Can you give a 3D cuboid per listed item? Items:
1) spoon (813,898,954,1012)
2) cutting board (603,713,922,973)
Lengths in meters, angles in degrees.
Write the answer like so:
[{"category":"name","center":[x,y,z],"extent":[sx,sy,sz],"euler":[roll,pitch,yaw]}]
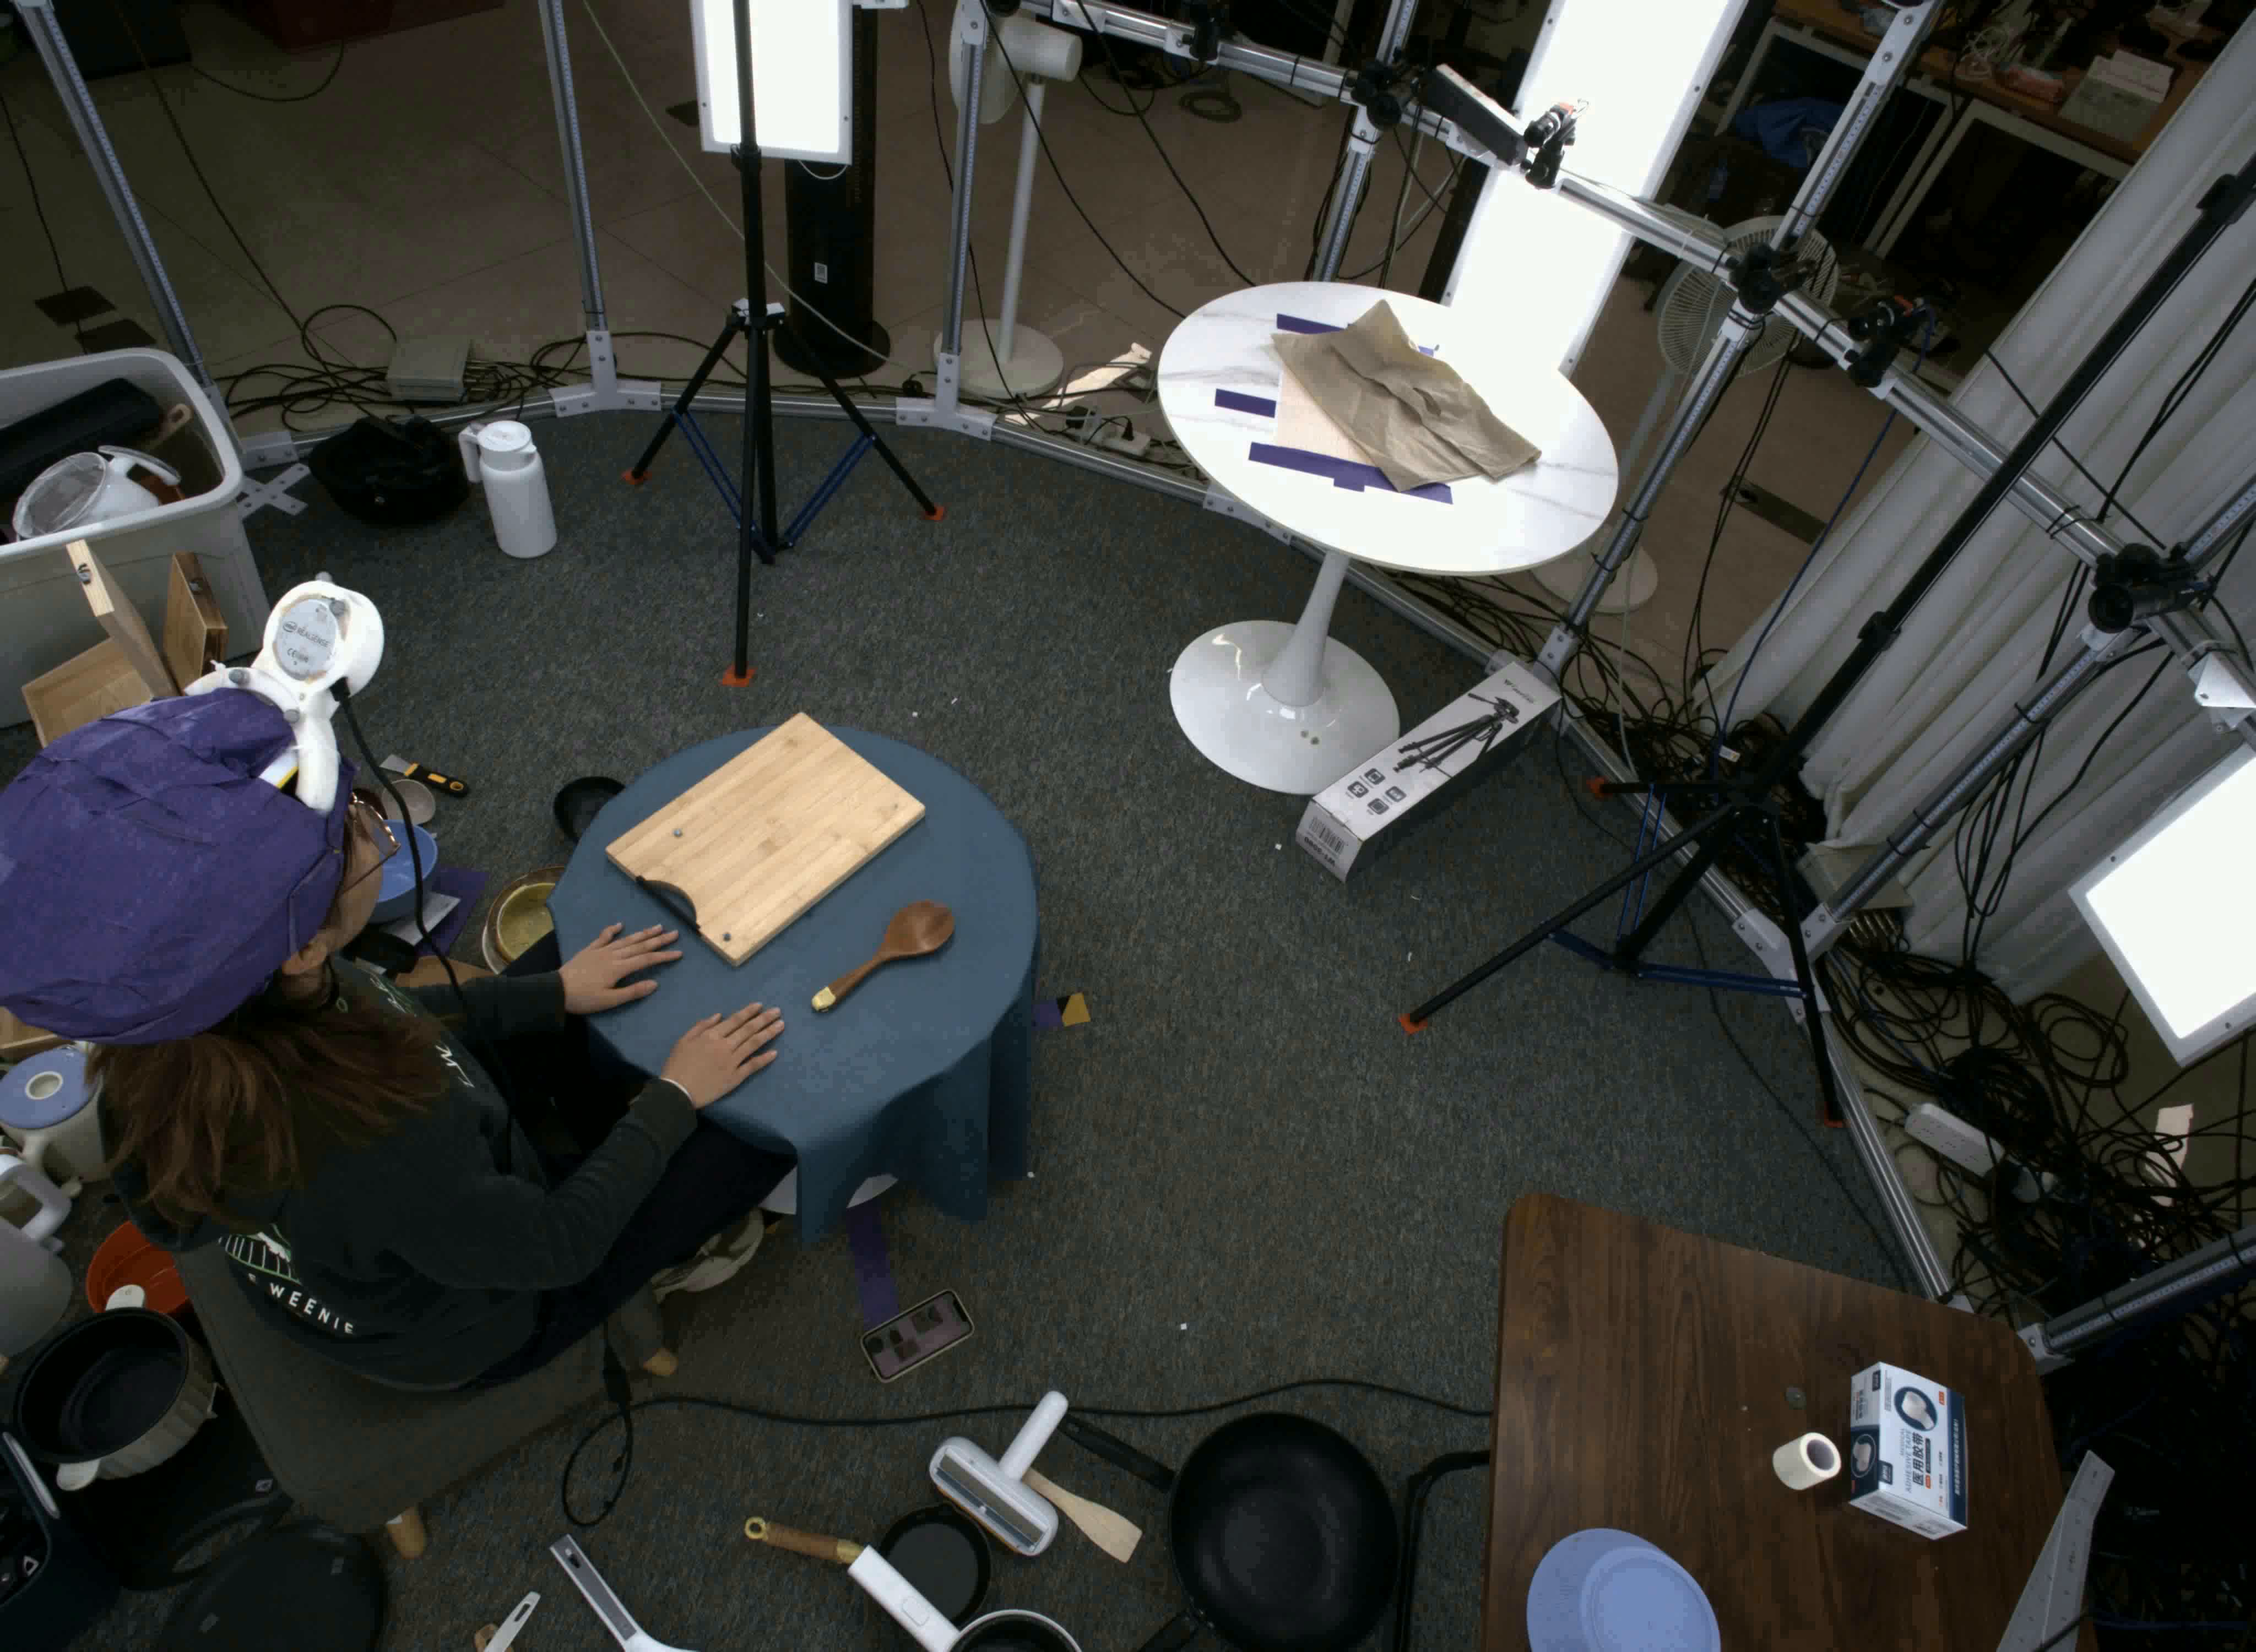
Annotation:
[{"category":"spoon","center":[-0.307,0.161,1.628],"extent":[0.074,0.017,0.216],"euler":[42,54,15]},{"category":"cutting board","center":[-0.474,0.010,1.699],"extent":[0.246,0.024,0.348],"euler":[36,53,13]}]
